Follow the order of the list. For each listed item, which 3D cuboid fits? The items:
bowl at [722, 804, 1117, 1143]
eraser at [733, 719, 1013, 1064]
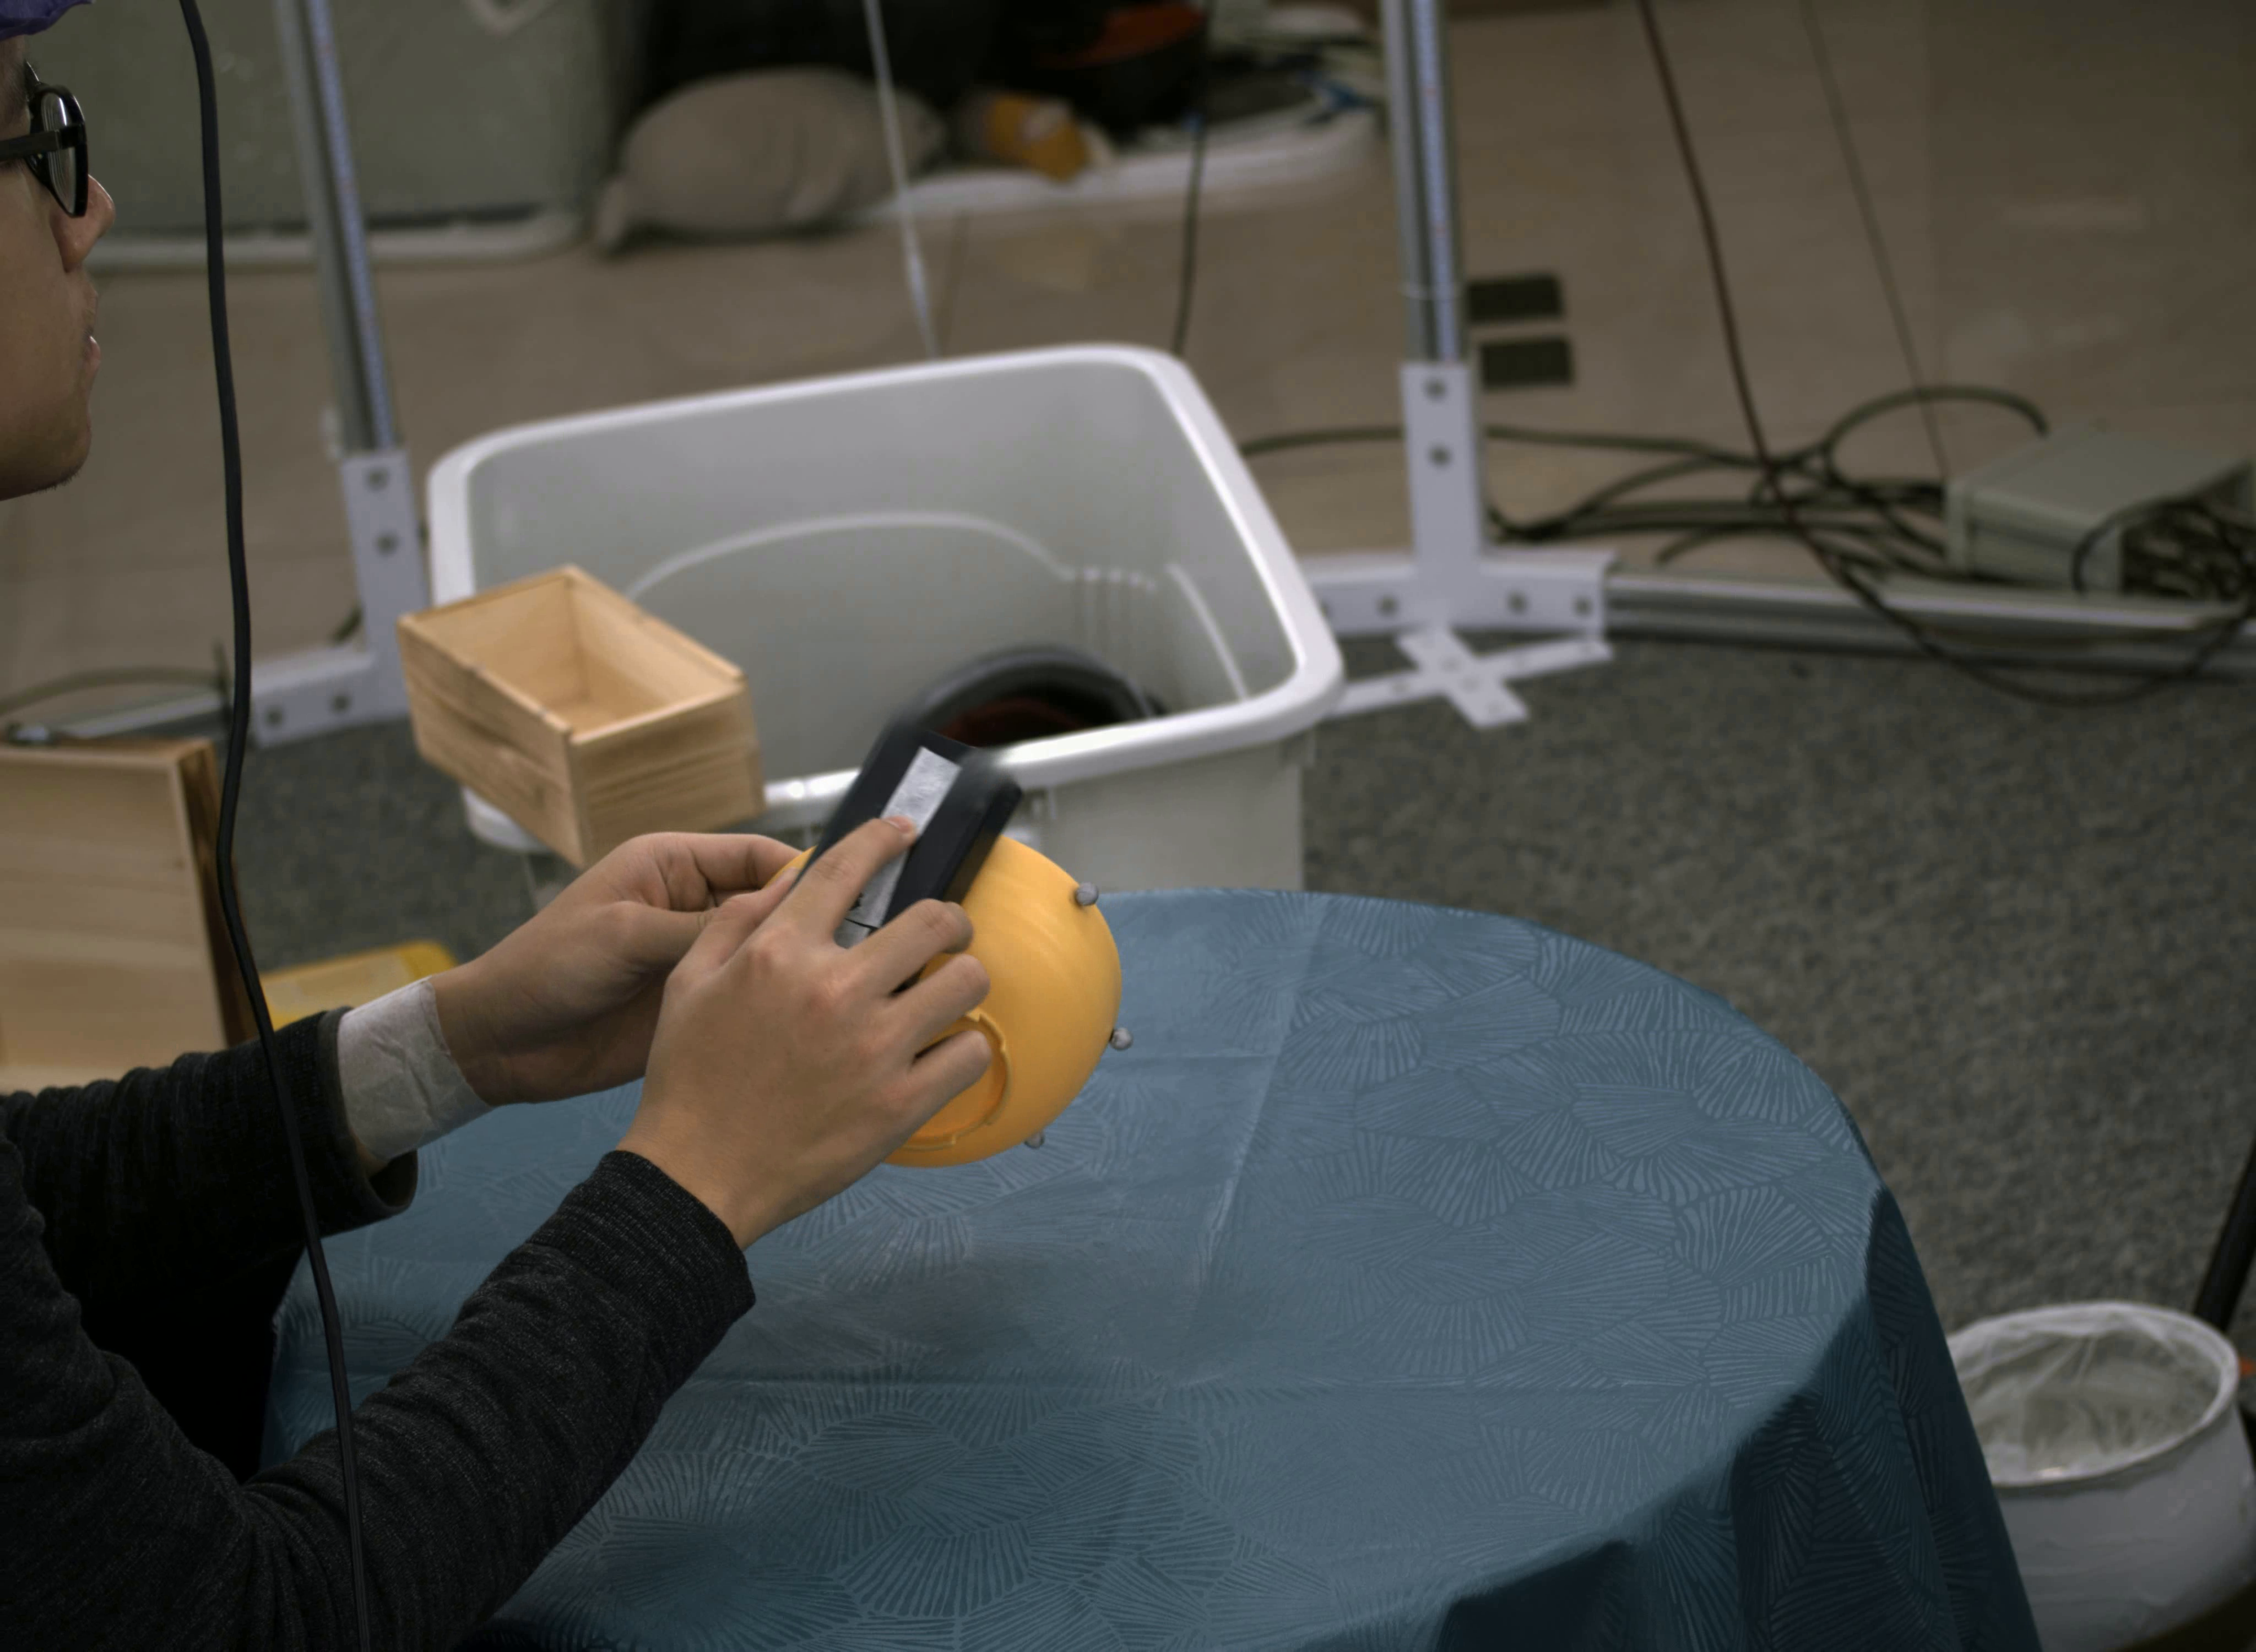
[{"bbox_3d":[-0.076,0.064,2.048,0.145,0.148,0.059,-5,34,3],"label":"bowl"},{"bbox_3d":[-0.089,0.022,2.000,0.053,0.031,0.124,18,63,17],"label":"eraser"}]
